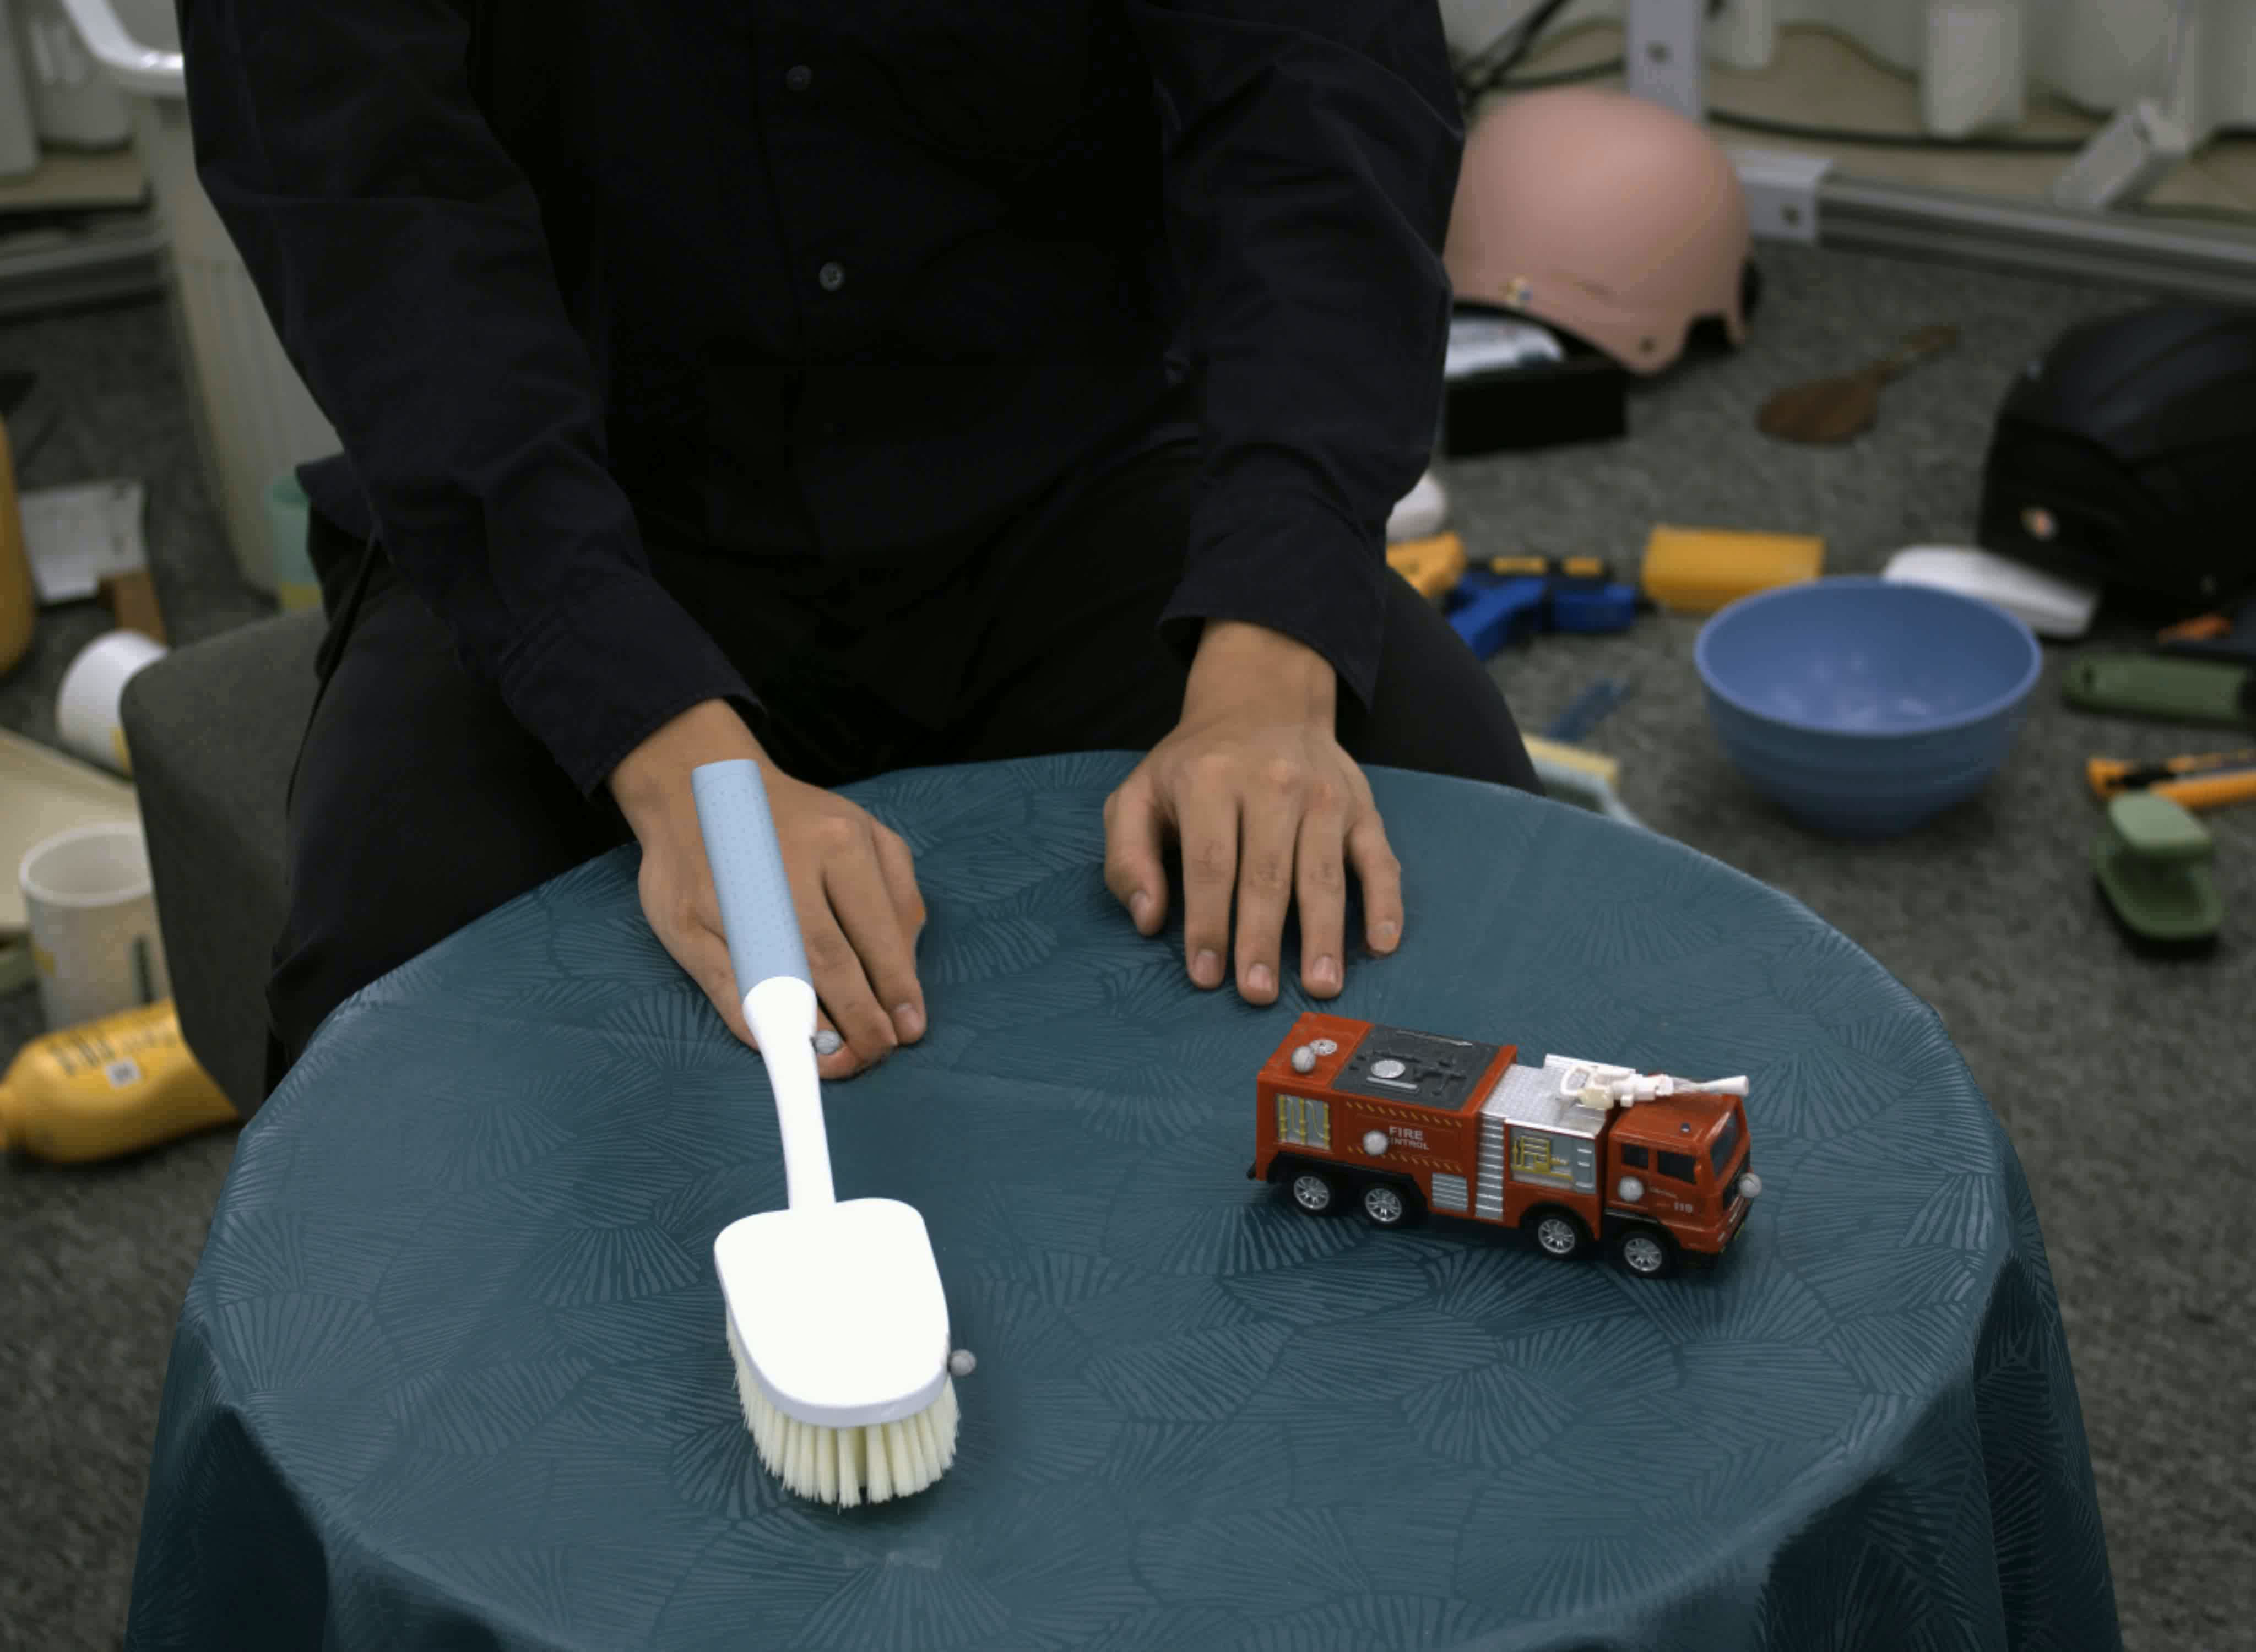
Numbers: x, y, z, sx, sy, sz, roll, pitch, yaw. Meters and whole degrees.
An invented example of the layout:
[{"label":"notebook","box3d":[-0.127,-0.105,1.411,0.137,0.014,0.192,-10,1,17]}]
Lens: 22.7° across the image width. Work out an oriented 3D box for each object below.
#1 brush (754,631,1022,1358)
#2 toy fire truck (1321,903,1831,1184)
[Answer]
[{"label":"brush","box3d":[-0.084,0.062,1.840,0.083,0.083,0.331,25,29,-29]},{"label":"toy fire truck","box3d":[0.147,0.068,1.831,0.167,0.069,0.055,7,26,20]}]
